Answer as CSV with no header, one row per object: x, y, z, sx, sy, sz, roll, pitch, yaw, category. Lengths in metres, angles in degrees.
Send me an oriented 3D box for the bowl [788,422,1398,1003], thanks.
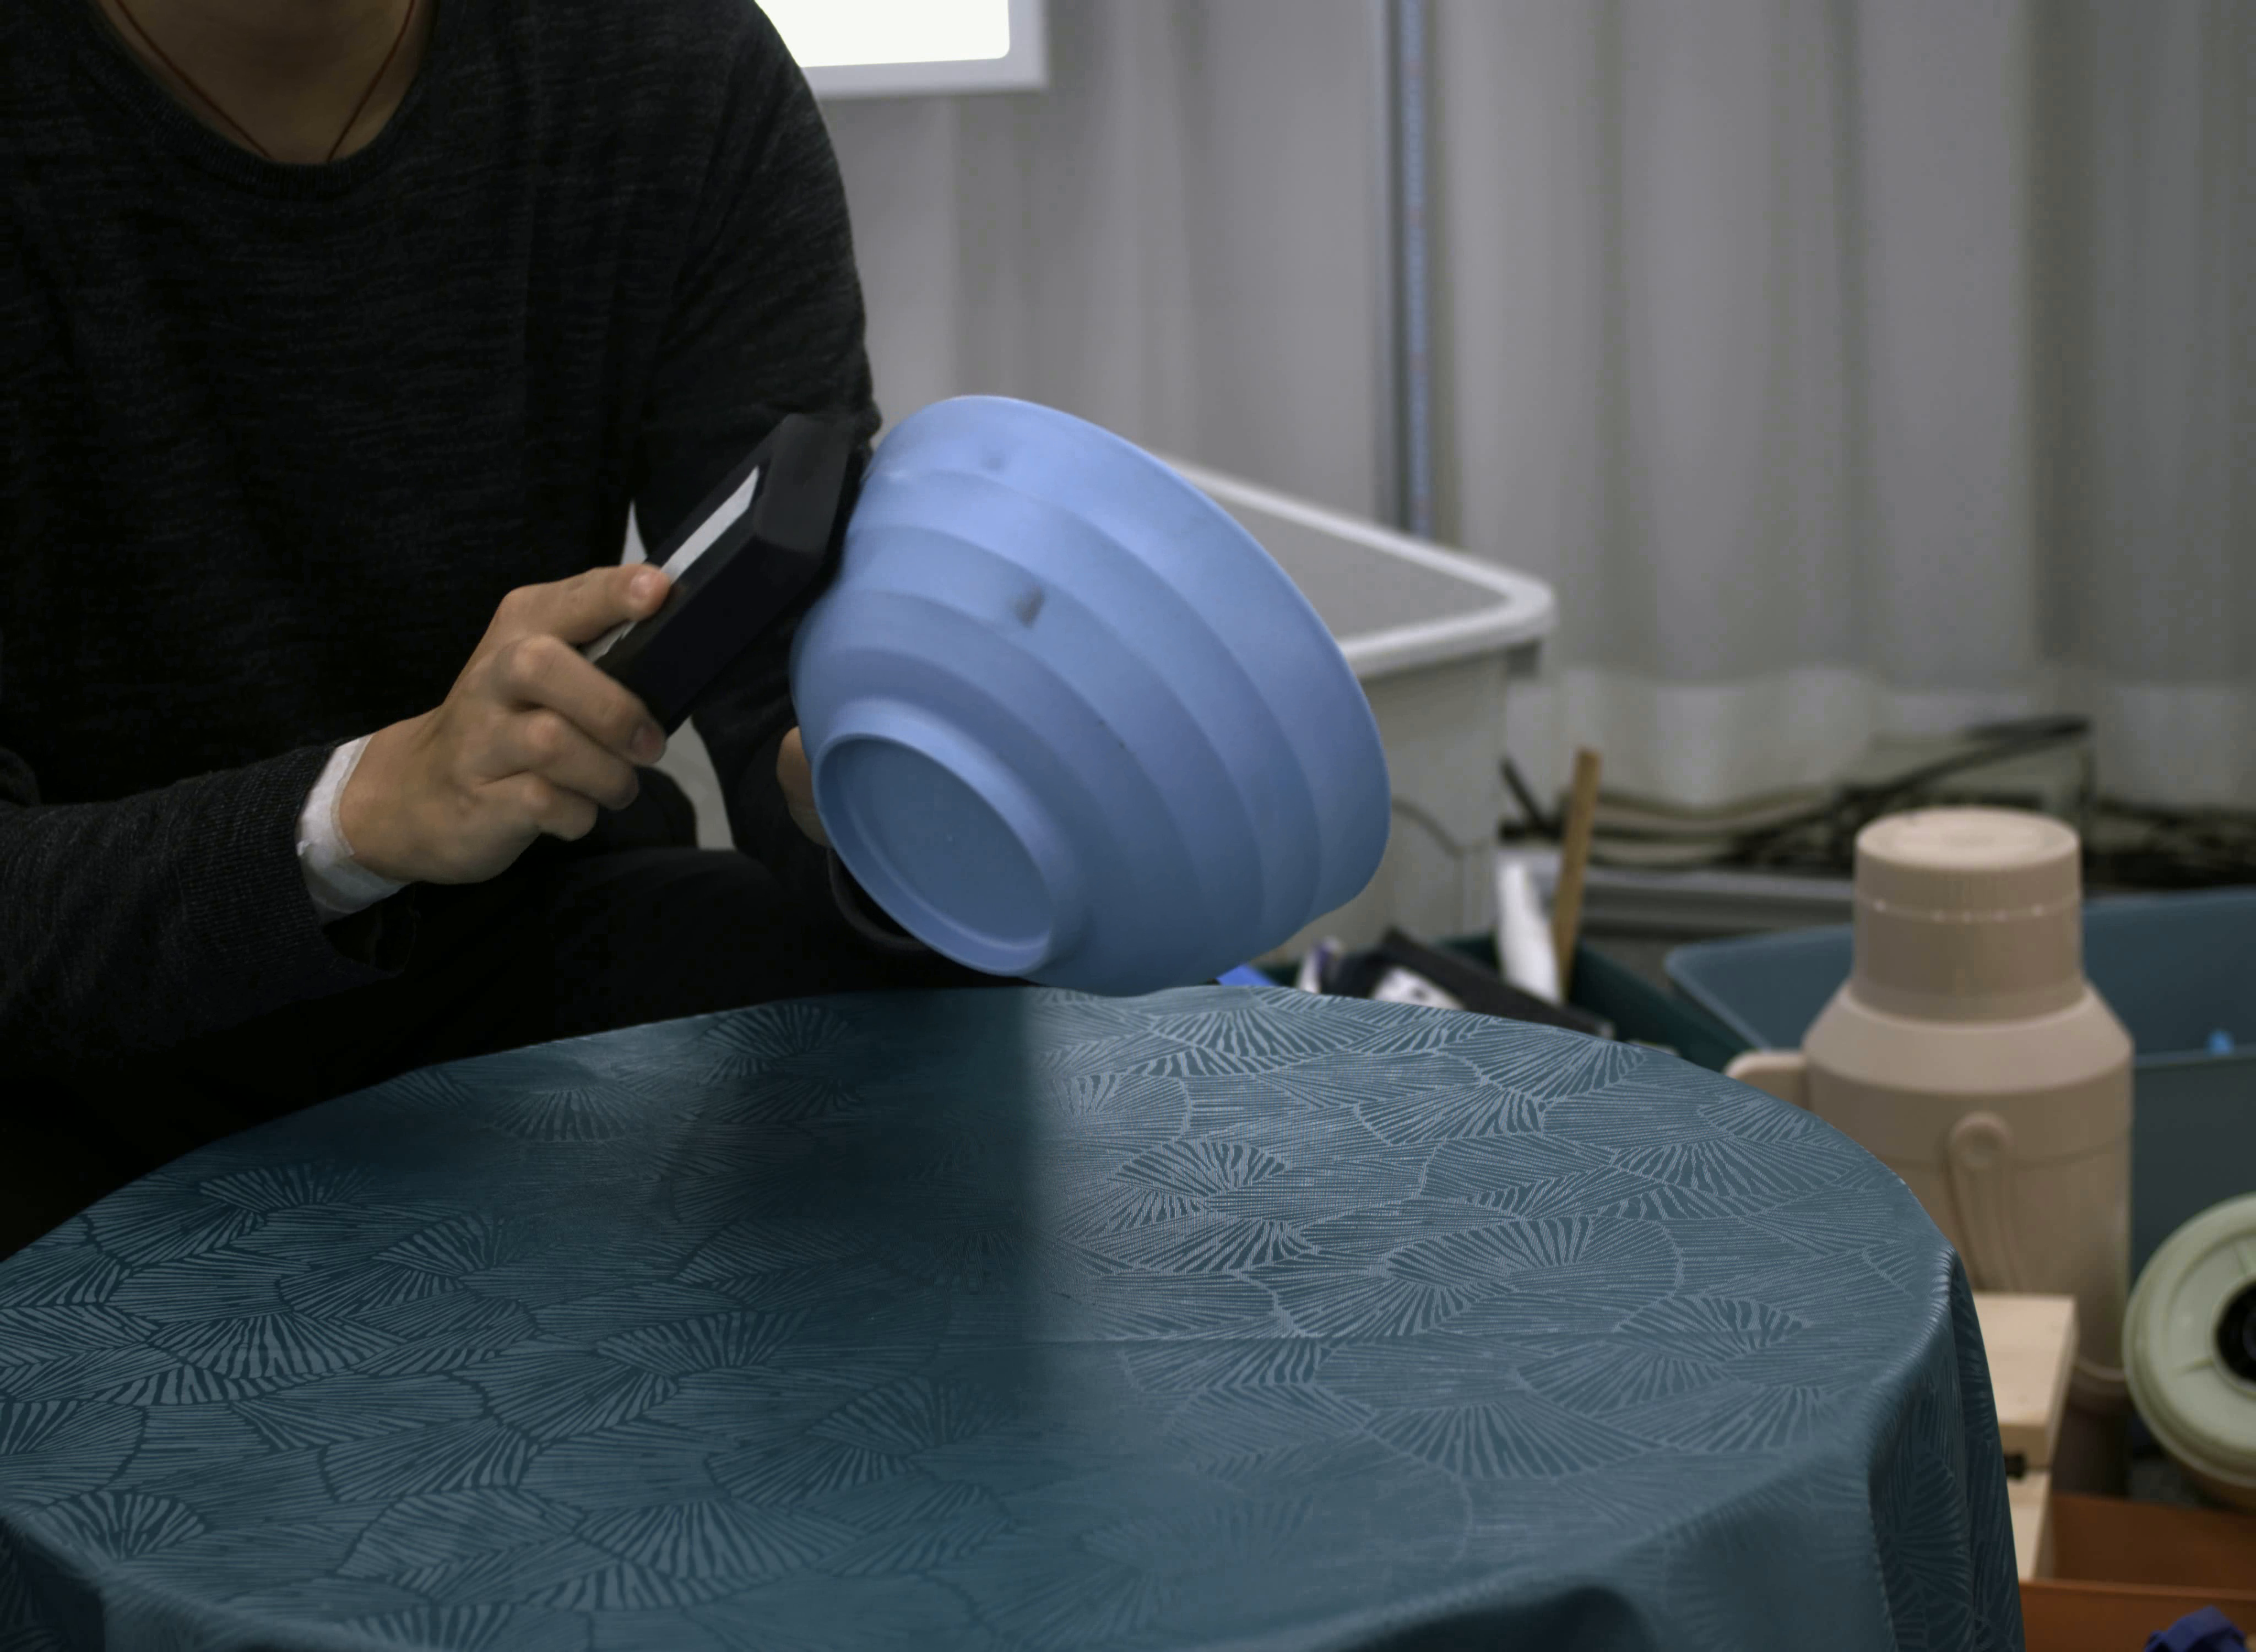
-0.027,-0.015,1.618,0.197,0.194,0.096,10,51,40,bowl

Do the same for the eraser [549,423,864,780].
-0.126,-0.067,1.633,0.030,0.125,0.054,32,44,-18,eraser
